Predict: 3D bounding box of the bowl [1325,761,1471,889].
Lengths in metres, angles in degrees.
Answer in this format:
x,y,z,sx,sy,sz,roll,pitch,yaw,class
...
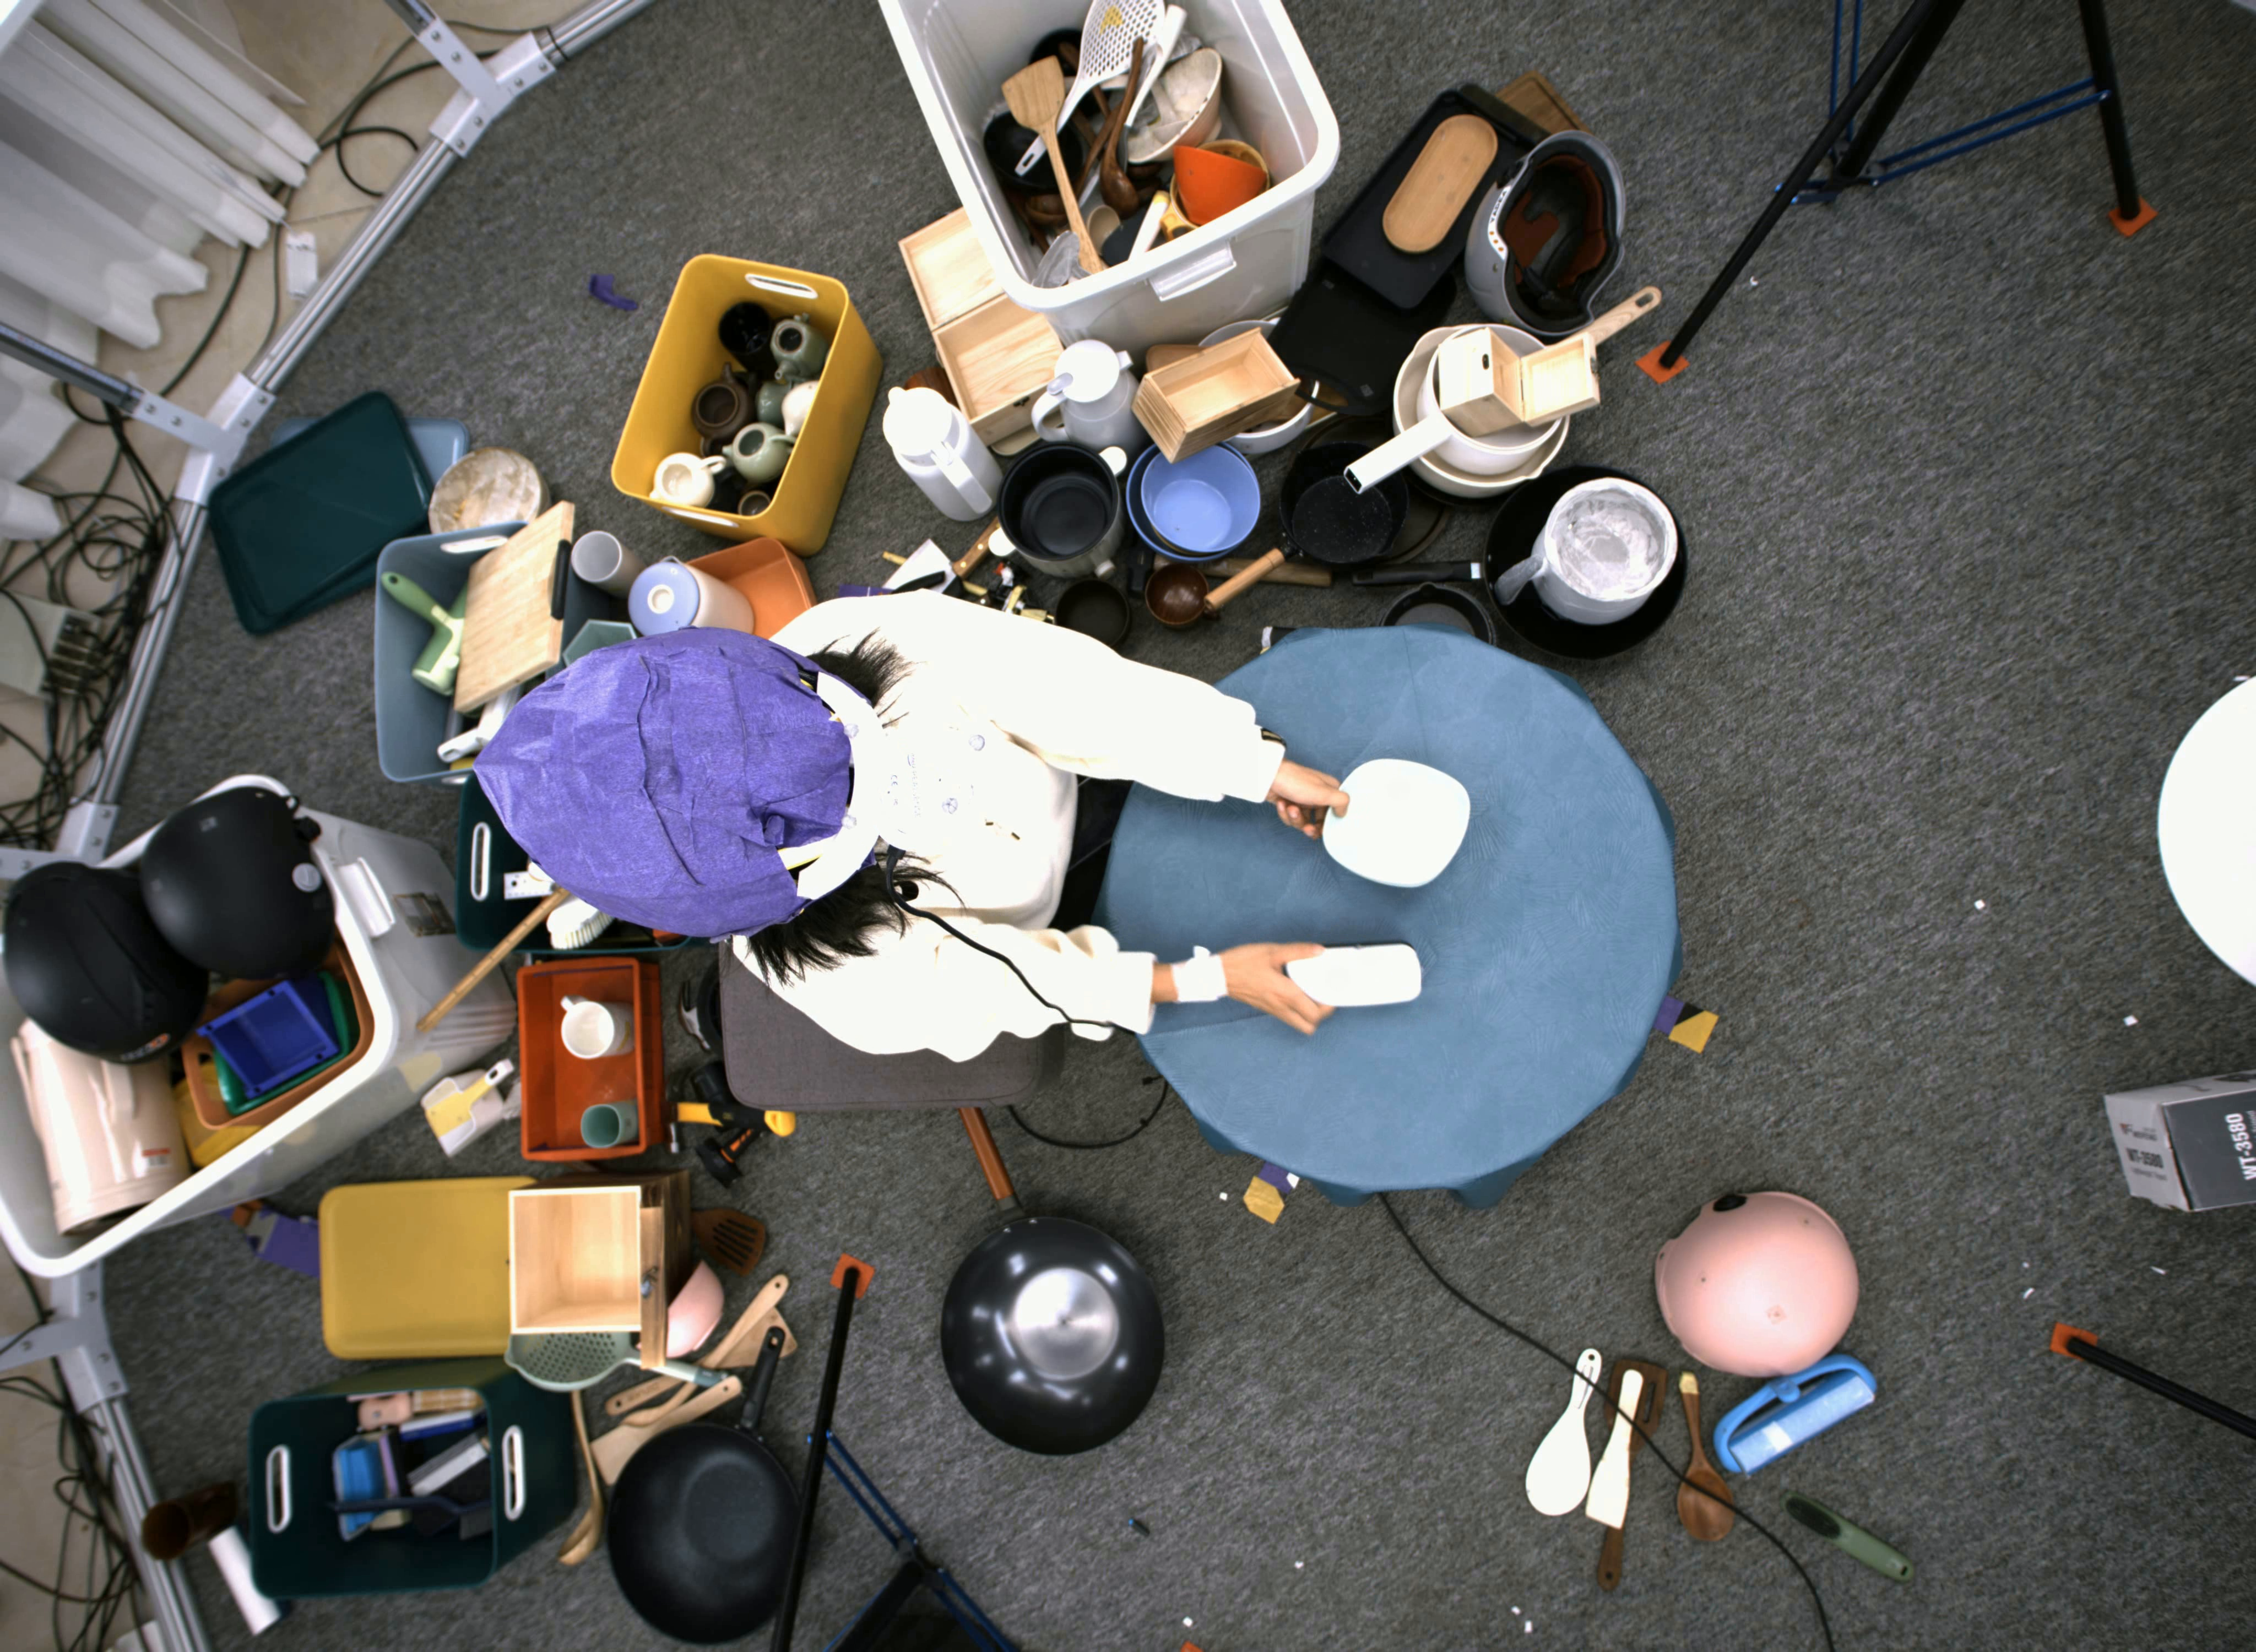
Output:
x,y,z,sx,sy,sz,roll,pitch,yaw,class
0.278,0.007,1.409,0.152,0.059,0.148,-8,60,13,bowl

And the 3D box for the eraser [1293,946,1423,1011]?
x,y,z,sx,sy,sz,roll,pitch,yaw,class
0.235,0.154,1.414,0.132,0.033,0.065,-4,122,9,eraser
